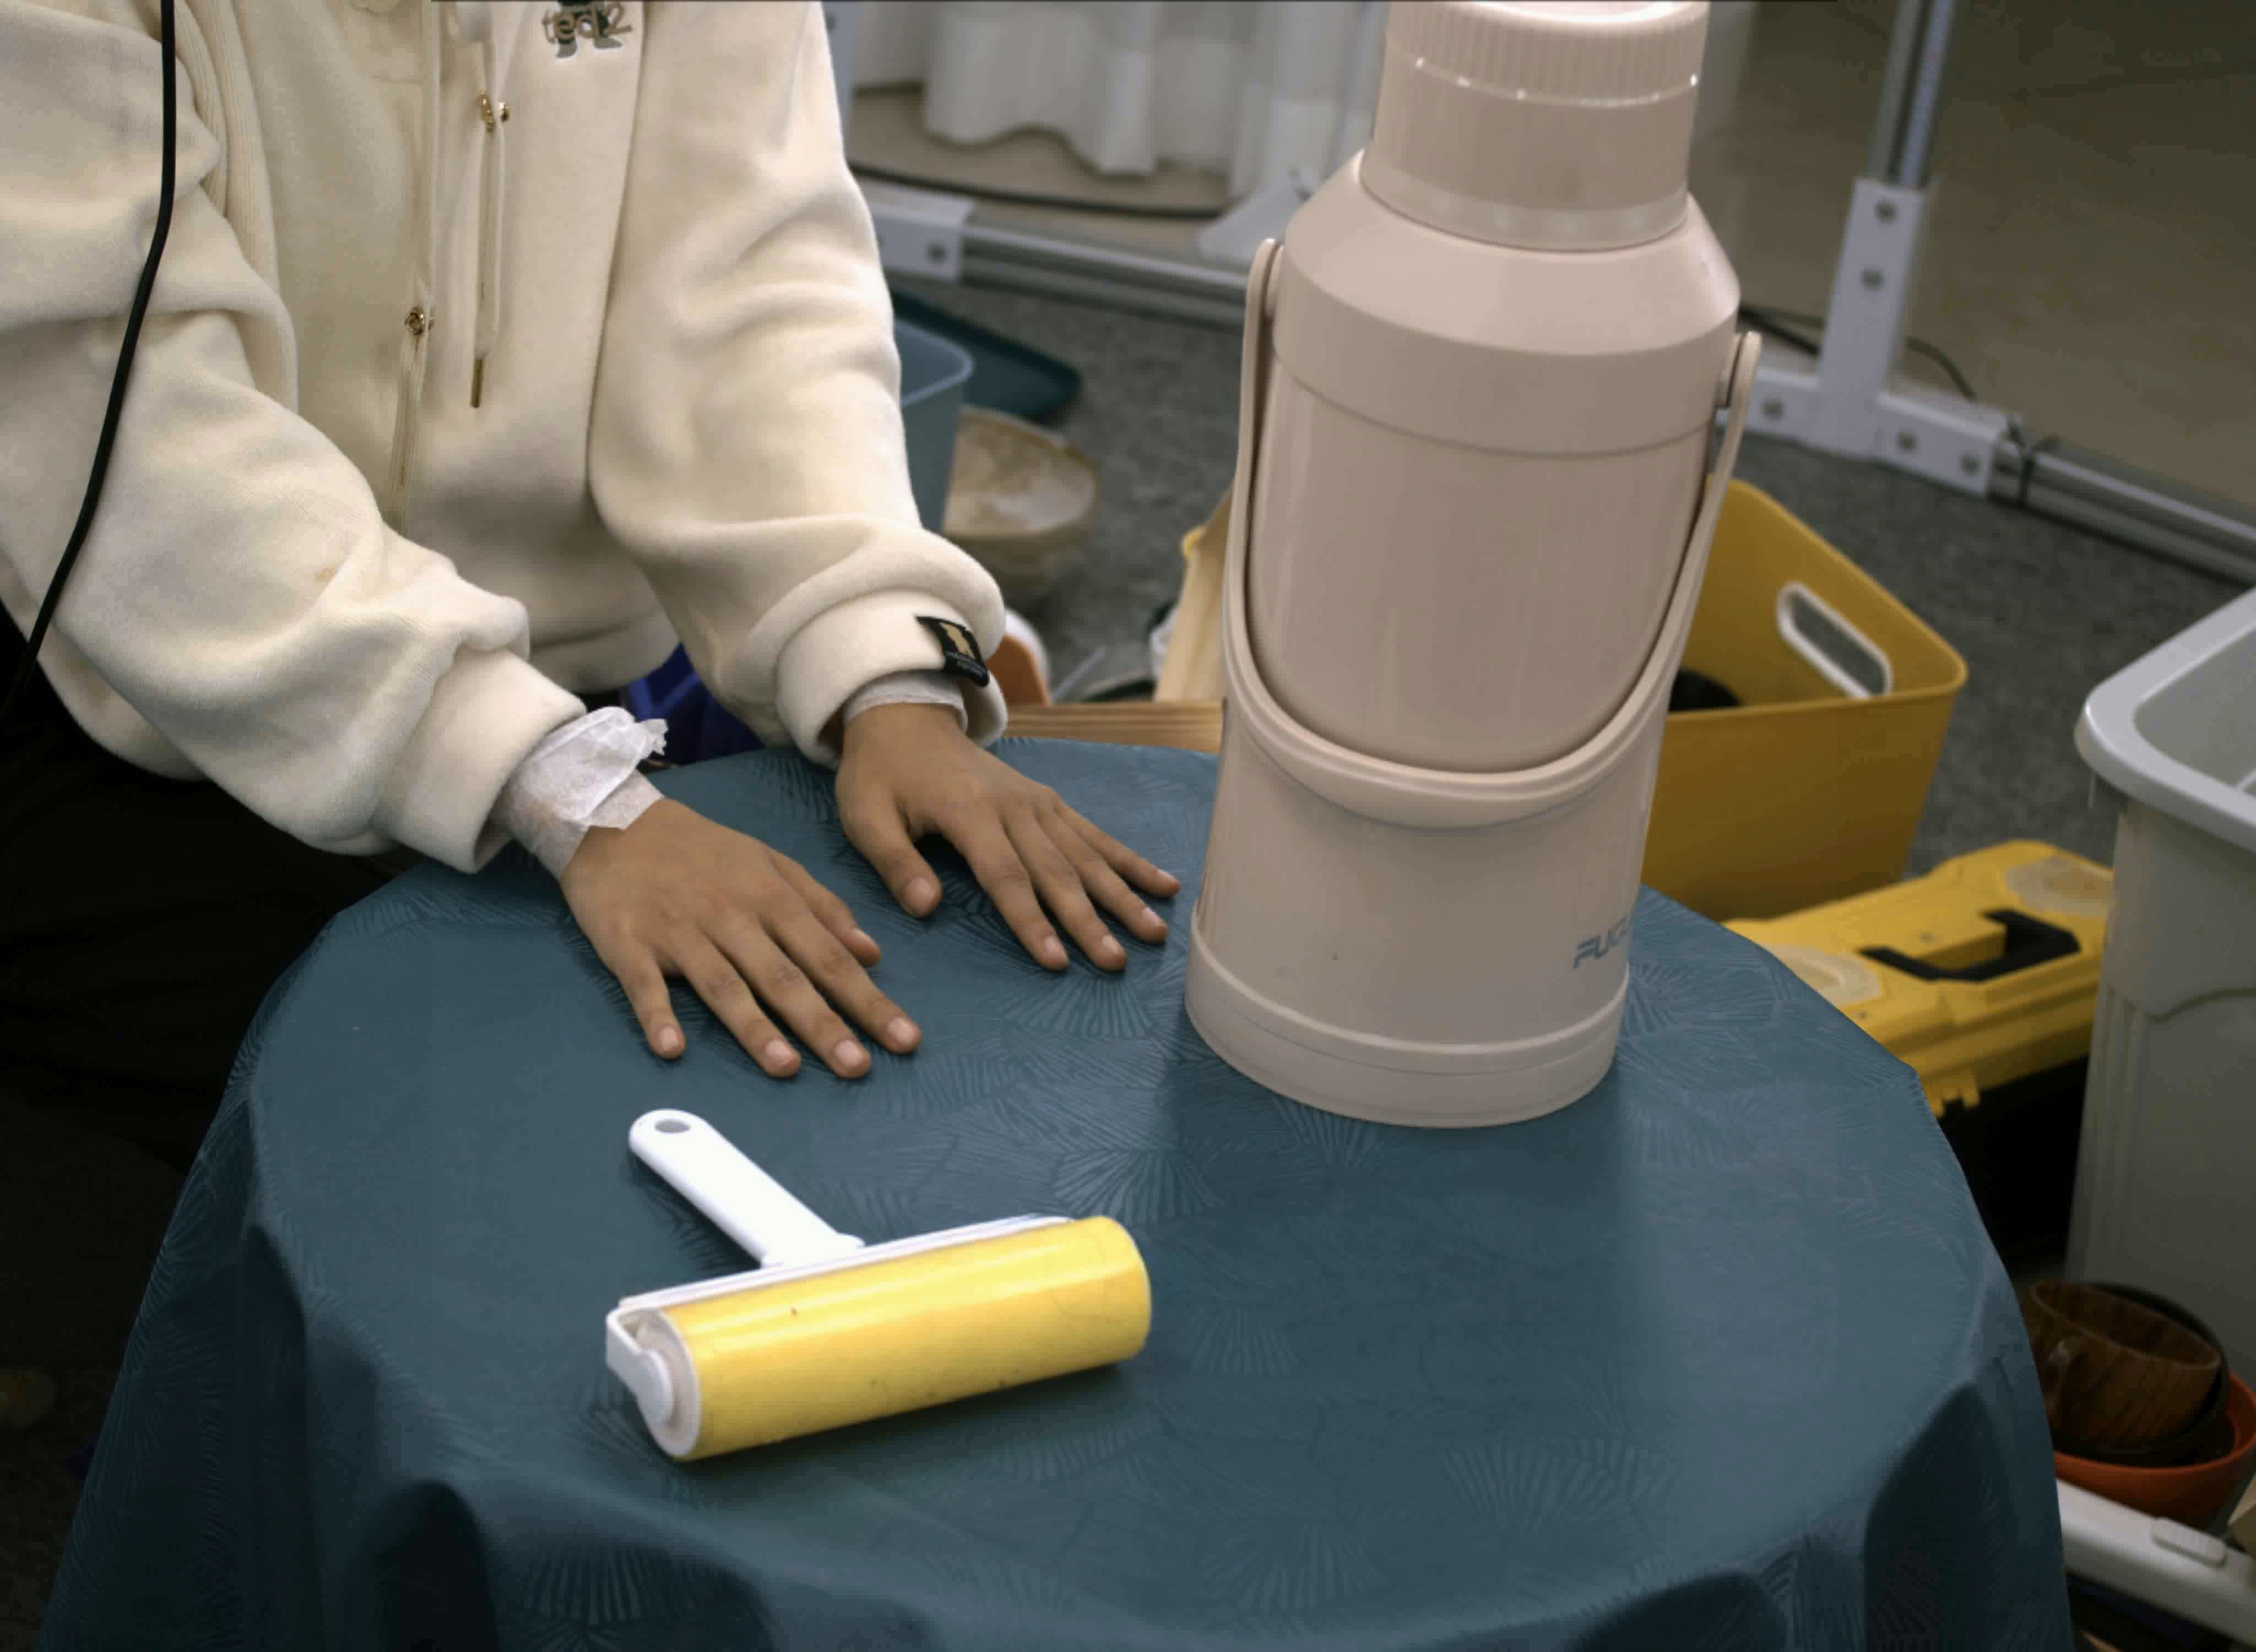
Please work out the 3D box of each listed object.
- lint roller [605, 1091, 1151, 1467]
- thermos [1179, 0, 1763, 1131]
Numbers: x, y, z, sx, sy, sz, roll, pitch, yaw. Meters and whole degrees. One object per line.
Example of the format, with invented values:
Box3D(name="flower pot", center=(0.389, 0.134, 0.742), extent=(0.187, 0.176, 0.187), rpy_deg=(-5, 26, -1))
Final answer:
Box3D(name="lint roller", center=(-0.110, 0.126, 1.712), extent=(0.173, 0.051, 0.194), rpy_deg=(-10, 37, -30))
Box3D(name="thermos", center=(0.124, -0.110, 1.853), extent=(0.175, 0.405, 0.207), rpy_deg=(11, 27, 10))
